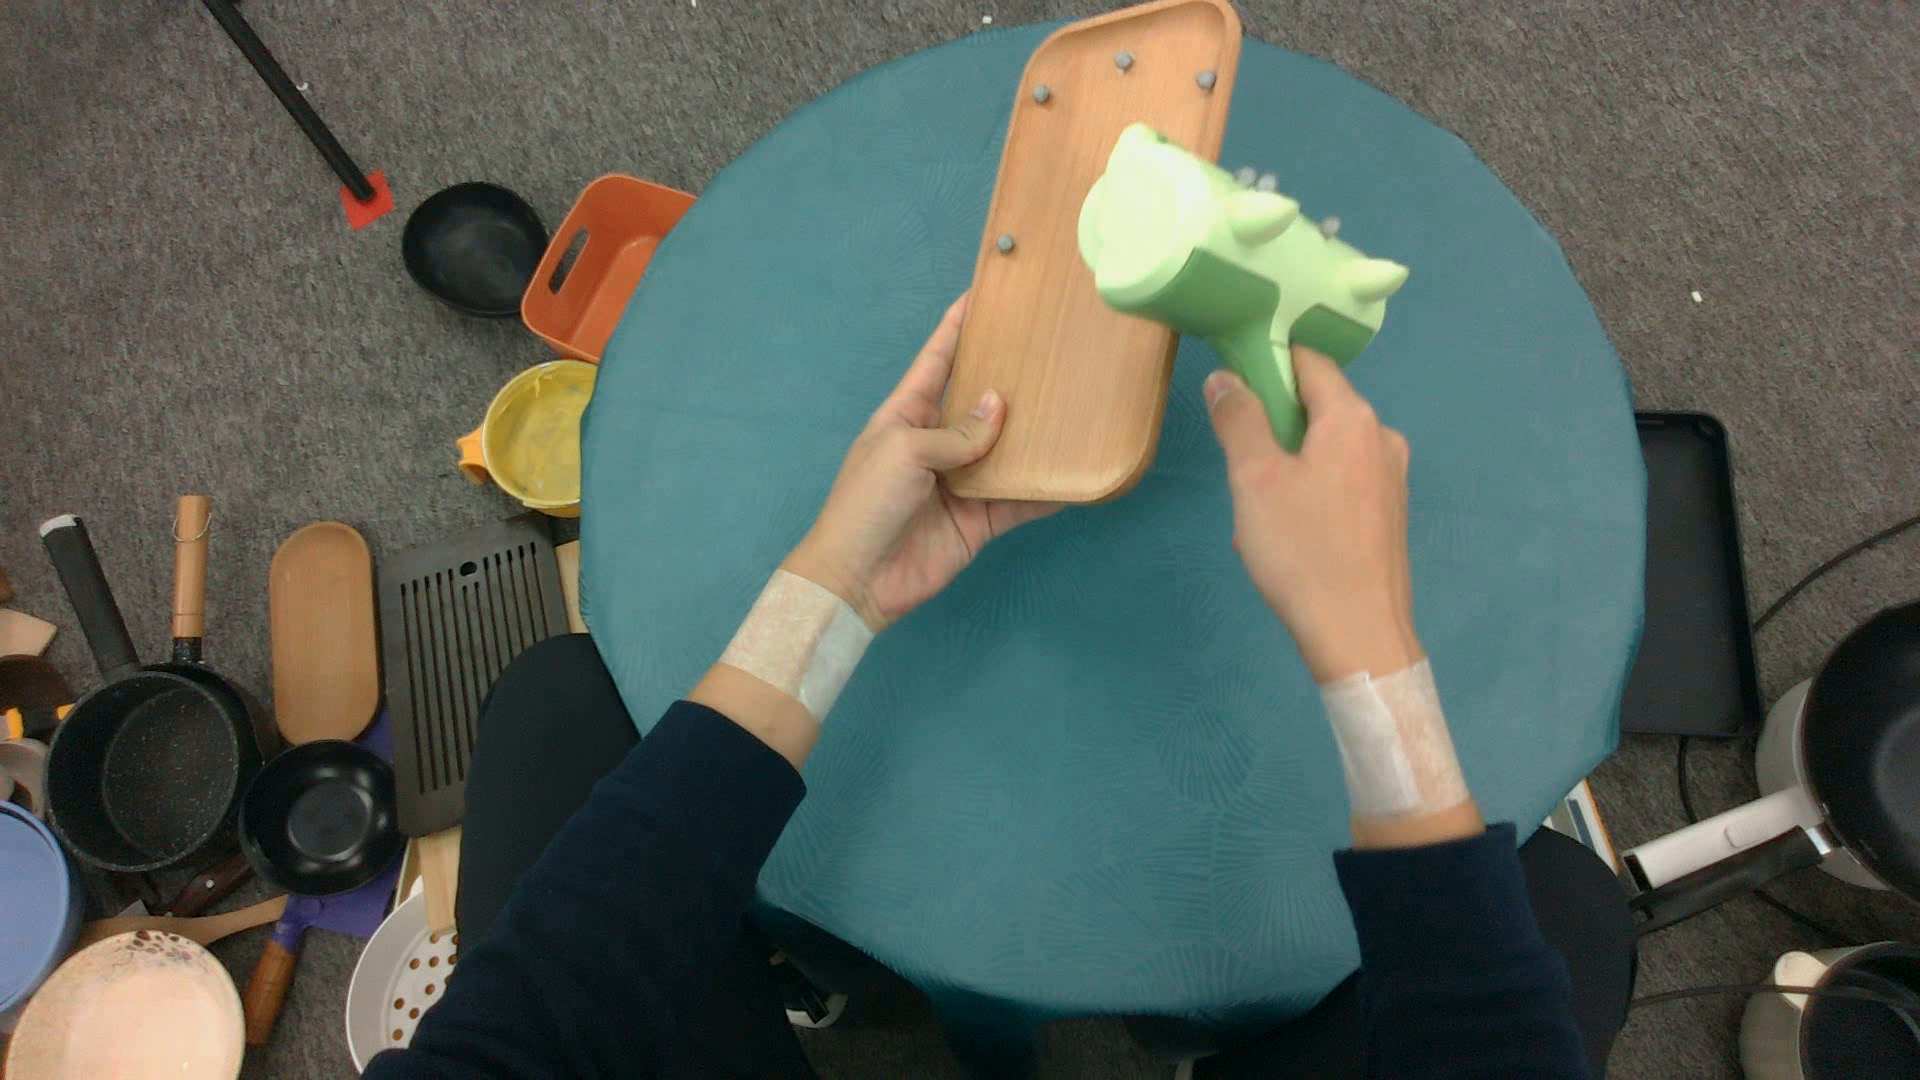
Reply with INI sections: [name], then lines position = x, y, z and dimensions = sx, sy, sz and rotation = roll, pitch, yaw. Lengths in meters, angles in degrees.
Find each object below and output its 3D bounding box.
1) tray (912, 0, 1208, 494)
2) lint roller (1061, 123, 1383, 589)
[tray]
position = 0.047, -0.142, 0.652
dimensions = 0.130, 0.023, 0.251
rotation = 1, 76, 44
[lint roller]
position = 0.138, -0.076, 0.577
dimensions = 0.082, 0.199, 0.183
rotation = -31, 70, 33
